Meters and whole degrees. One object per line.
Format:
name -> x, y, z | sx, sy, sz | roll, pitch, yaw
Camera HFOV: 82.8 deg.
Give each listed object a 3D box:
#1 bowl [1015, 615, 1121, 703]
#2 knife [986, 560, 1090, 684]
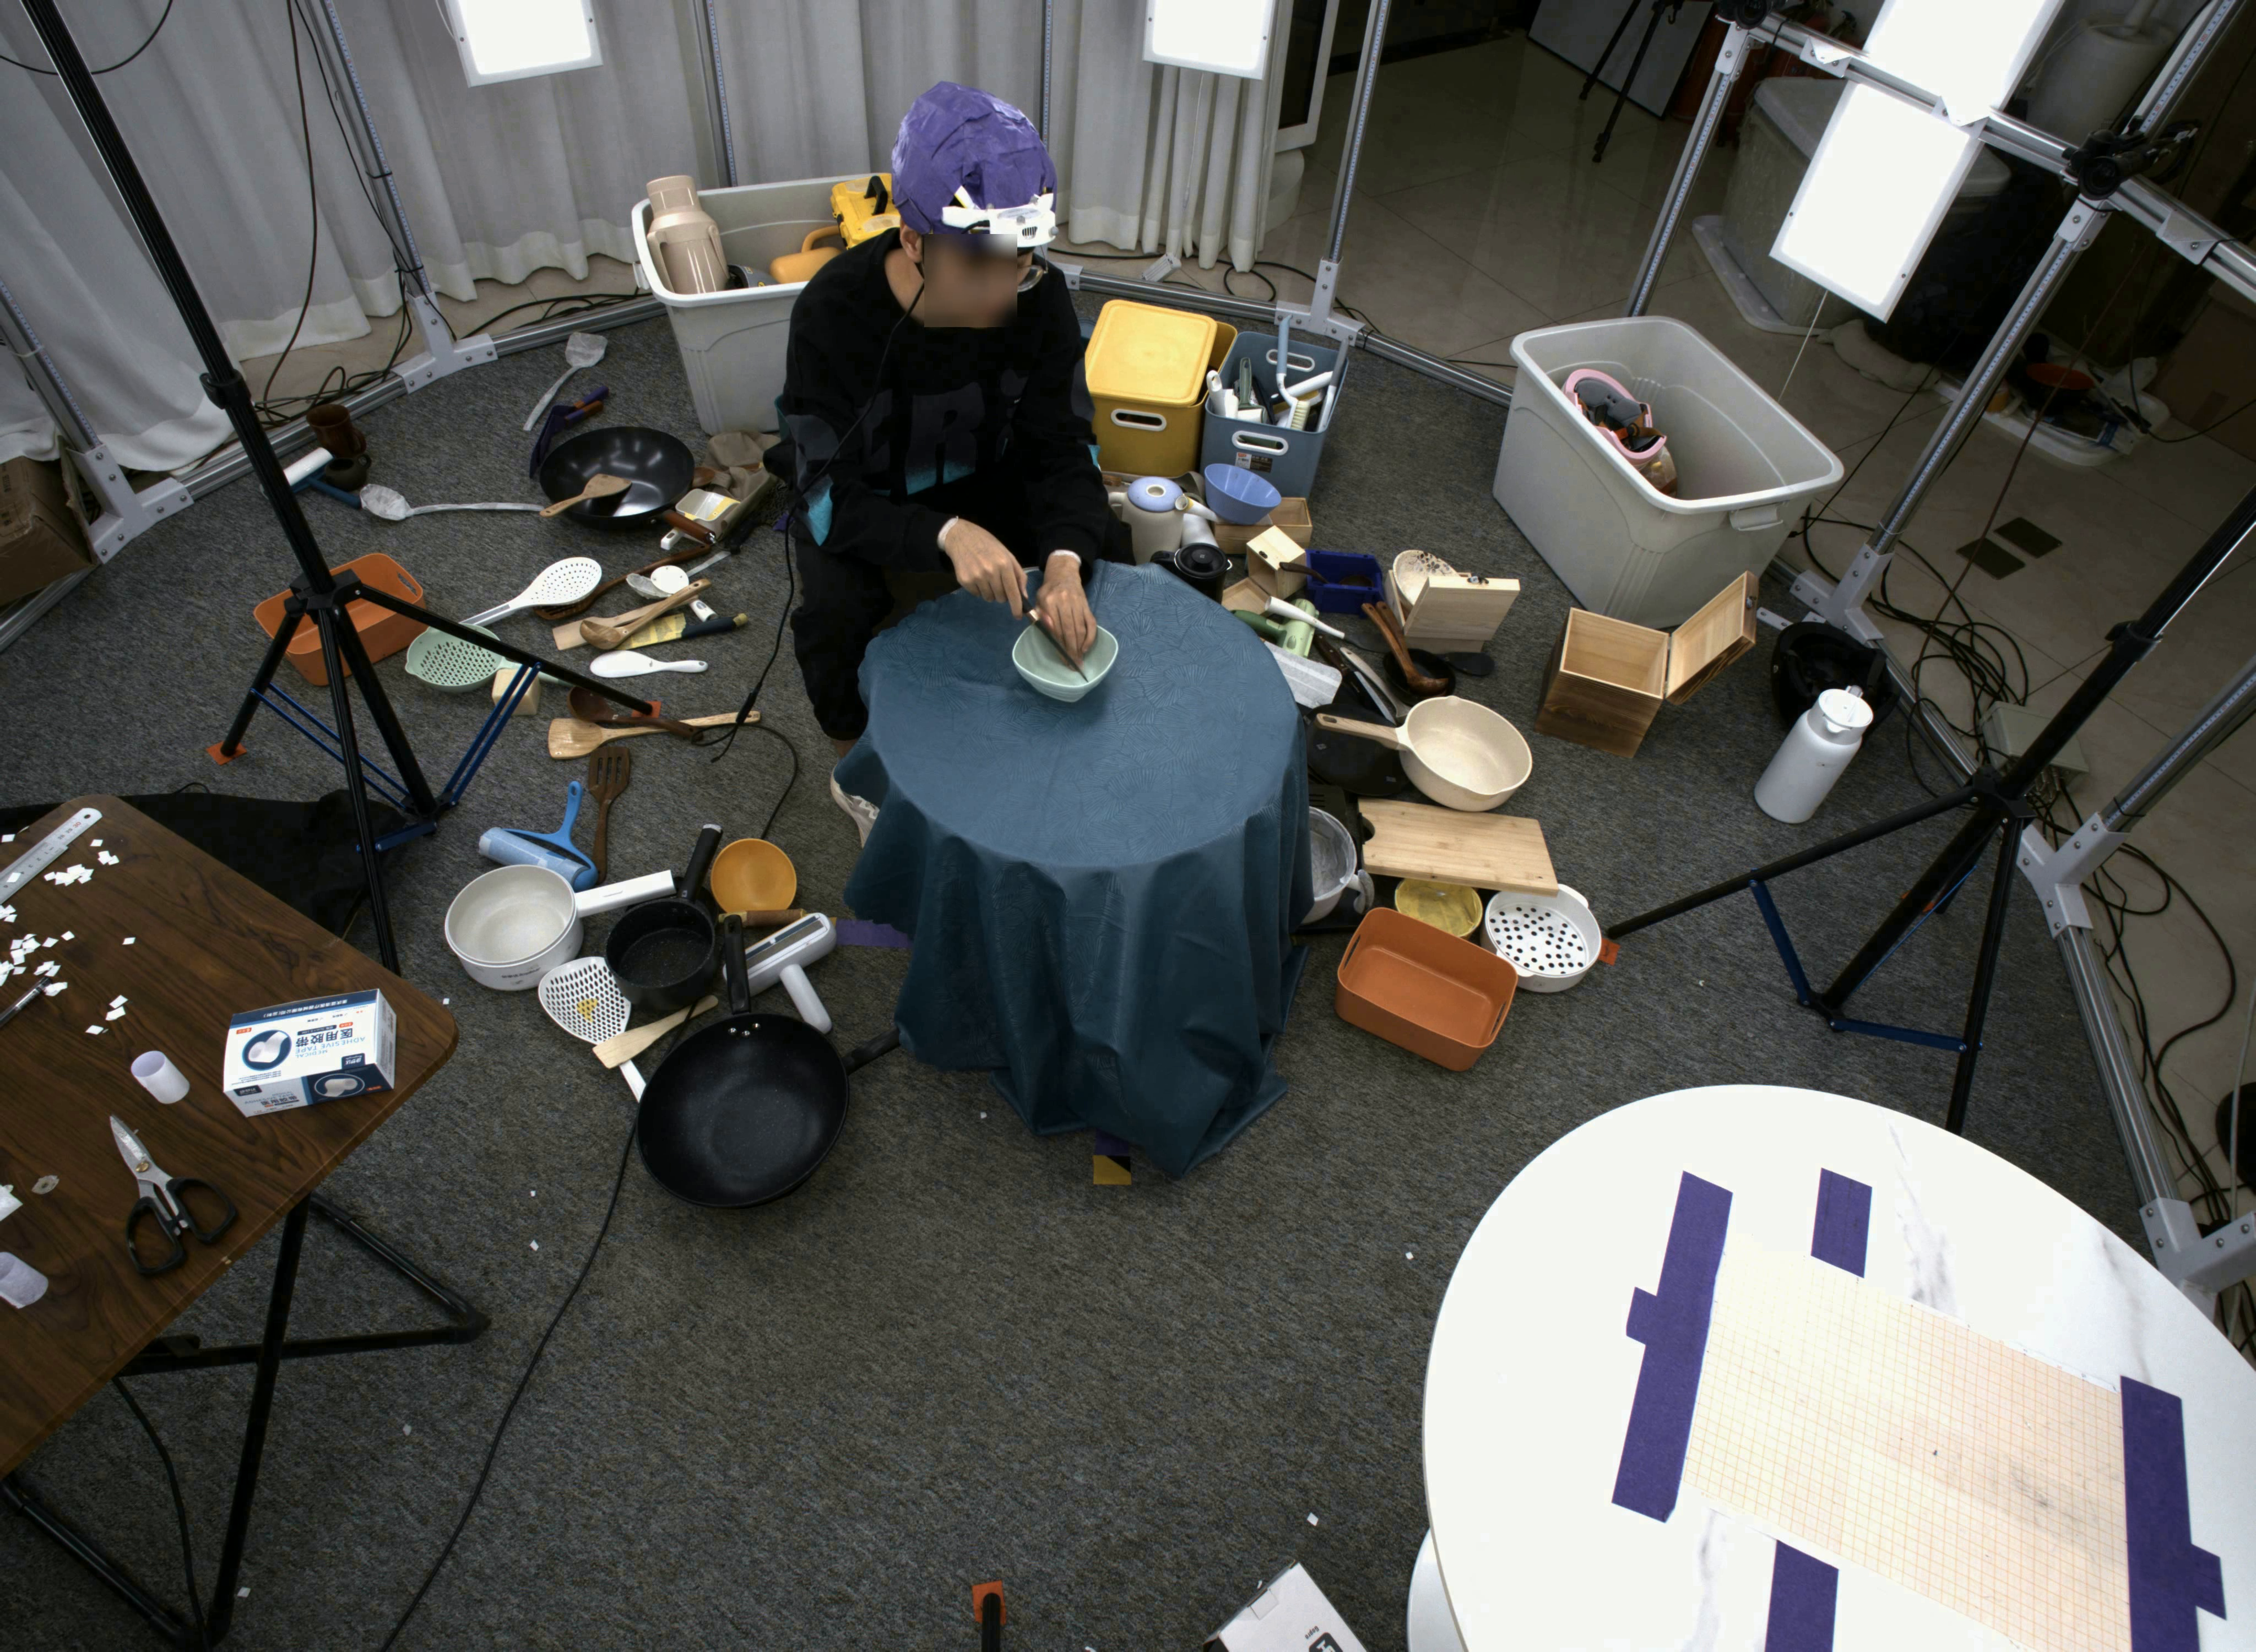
bowl -> -0.085, -0.229, 1.827 | 0.151, 0.057, 0.155 | 1, 50, -2
knife -> -0.124, -0.285, 1.815 | 0.017, 0.026, 0.225 | -41, 92, -25
